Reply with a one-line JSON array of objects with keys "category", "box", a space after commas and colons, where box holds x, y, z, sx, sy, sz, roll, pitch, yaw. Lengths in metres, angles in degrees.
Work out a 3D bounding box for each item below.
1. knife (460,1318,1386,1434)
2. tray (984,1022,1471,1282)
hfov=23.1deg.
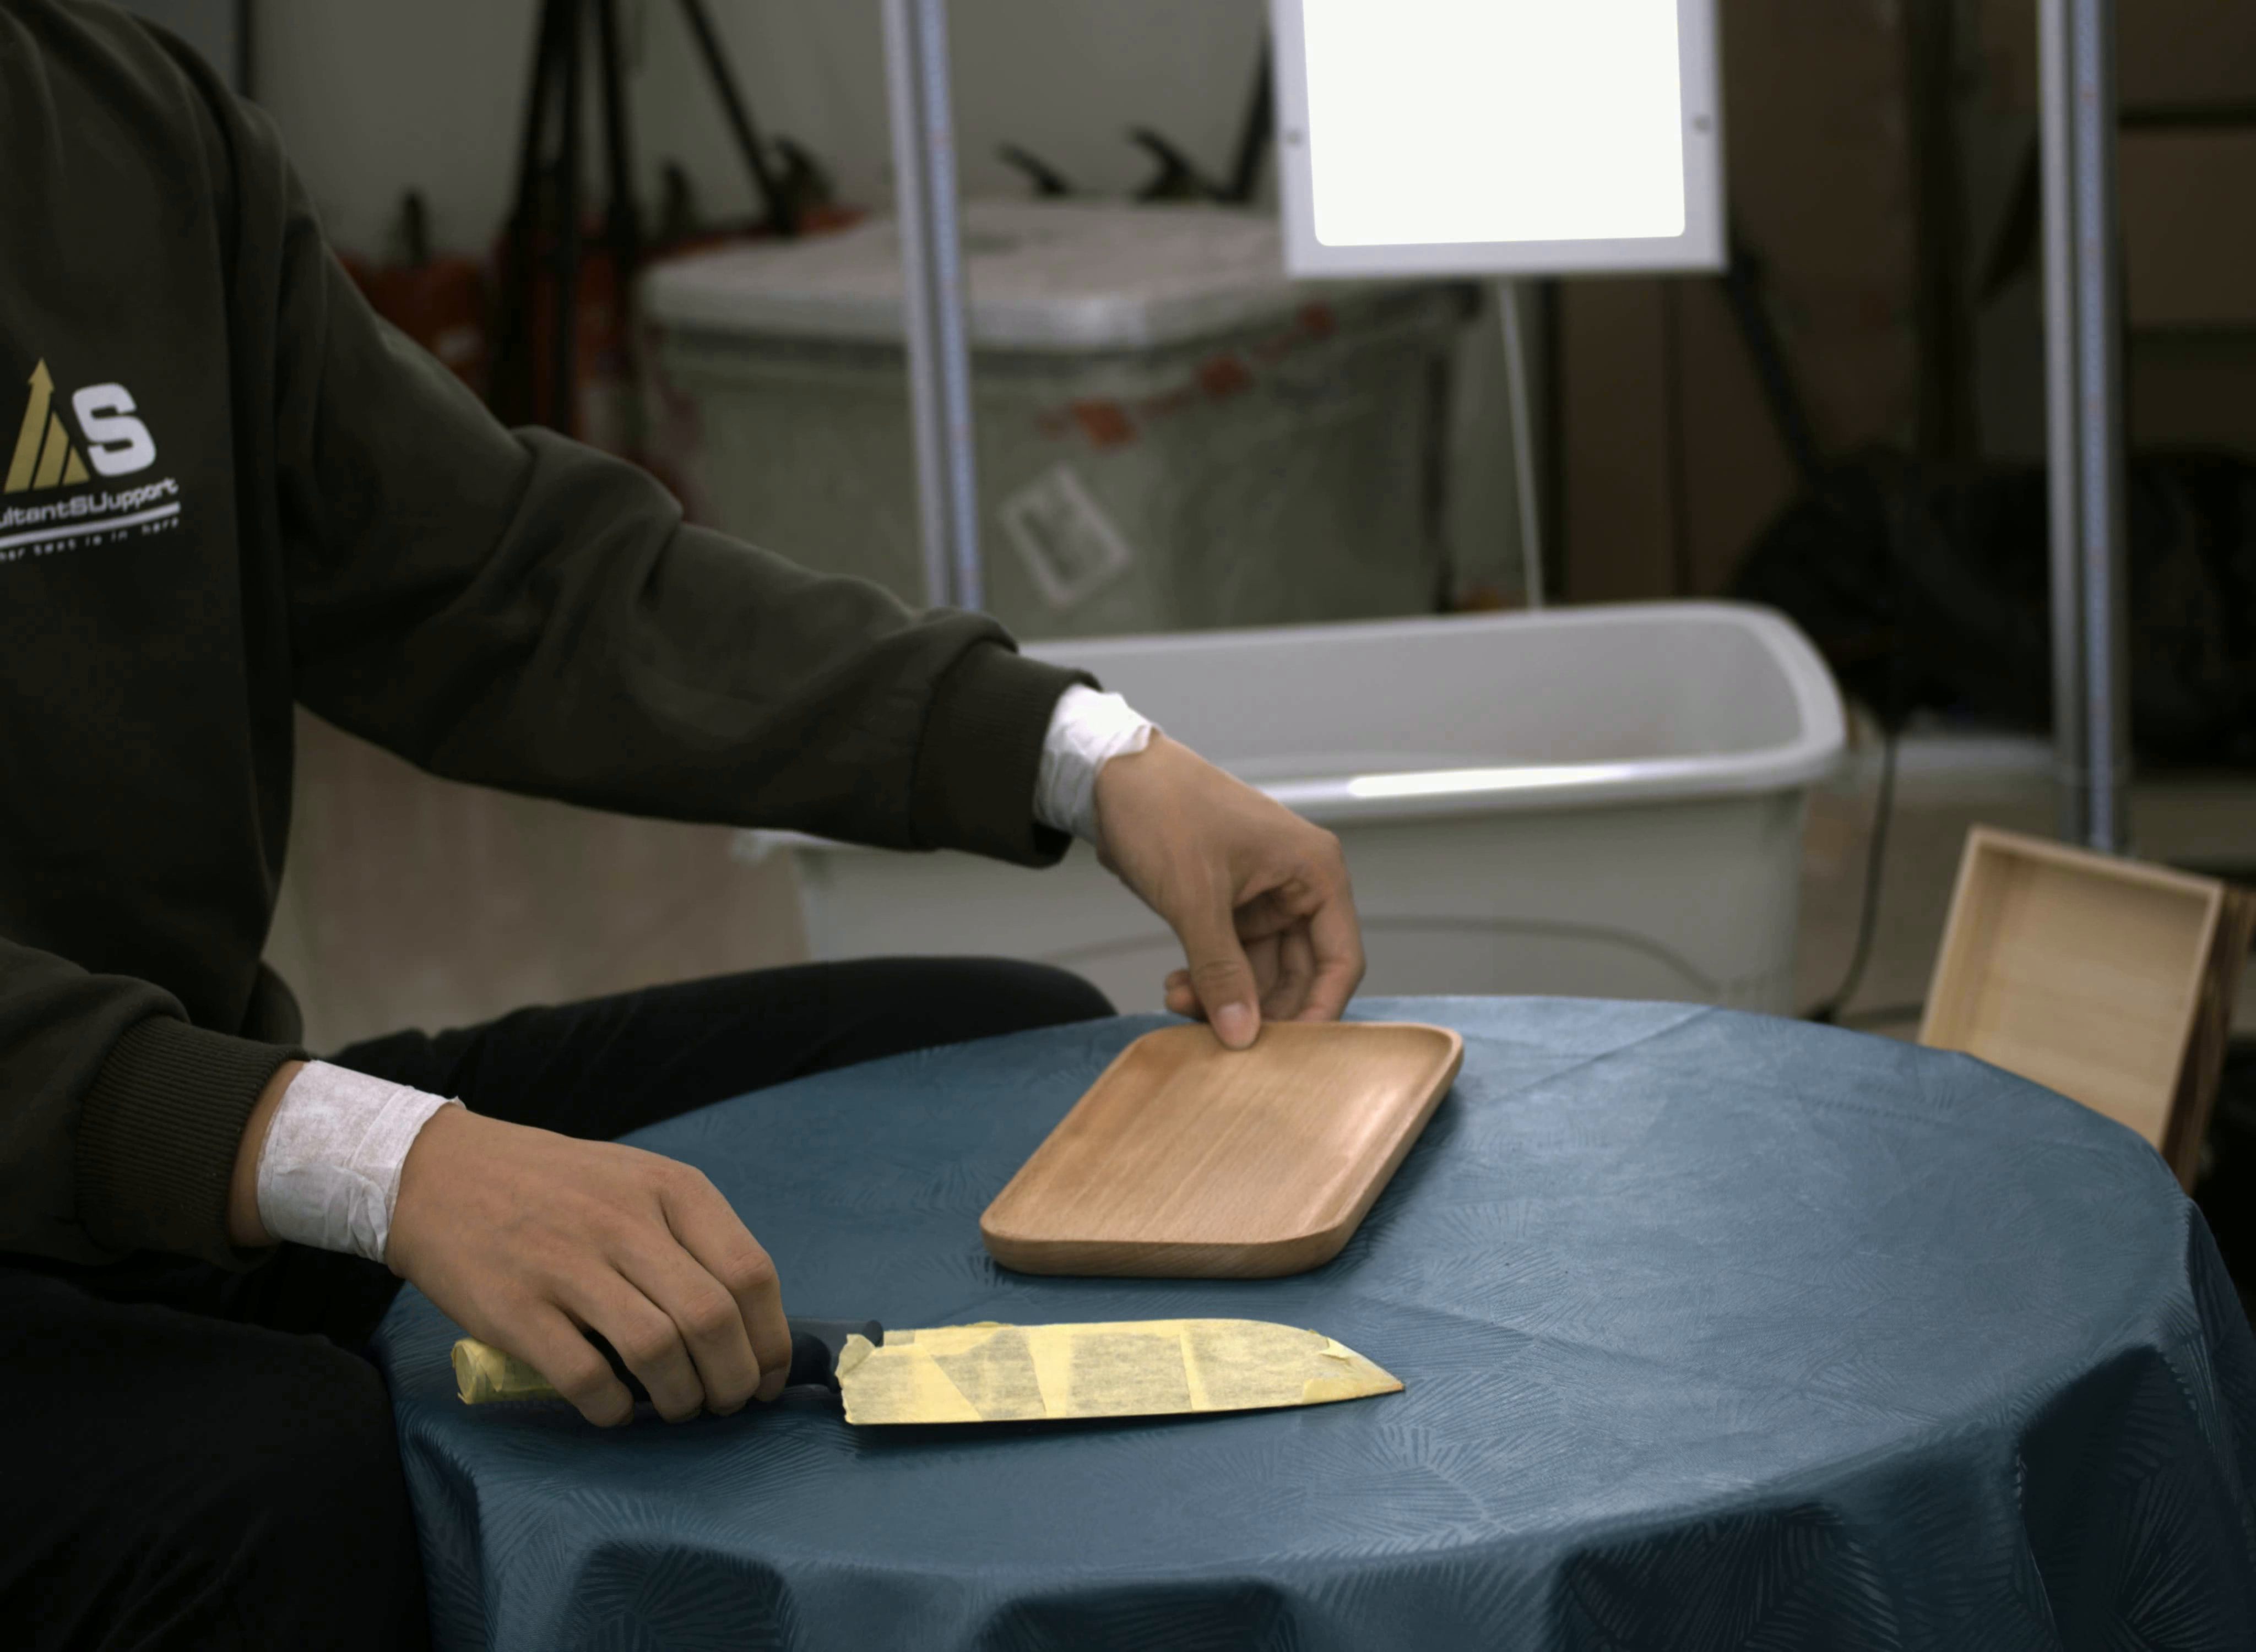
[{"category": "knife", "box": [-0.064, 0.172, 1.704, 0.289, 0.027, 0.081, -3, 15, 2]}, {"category": "tray", "box": [0.039, 0.111, 1.916, 0.132, 0.023, 0.247, -3, 15, 17]}]
